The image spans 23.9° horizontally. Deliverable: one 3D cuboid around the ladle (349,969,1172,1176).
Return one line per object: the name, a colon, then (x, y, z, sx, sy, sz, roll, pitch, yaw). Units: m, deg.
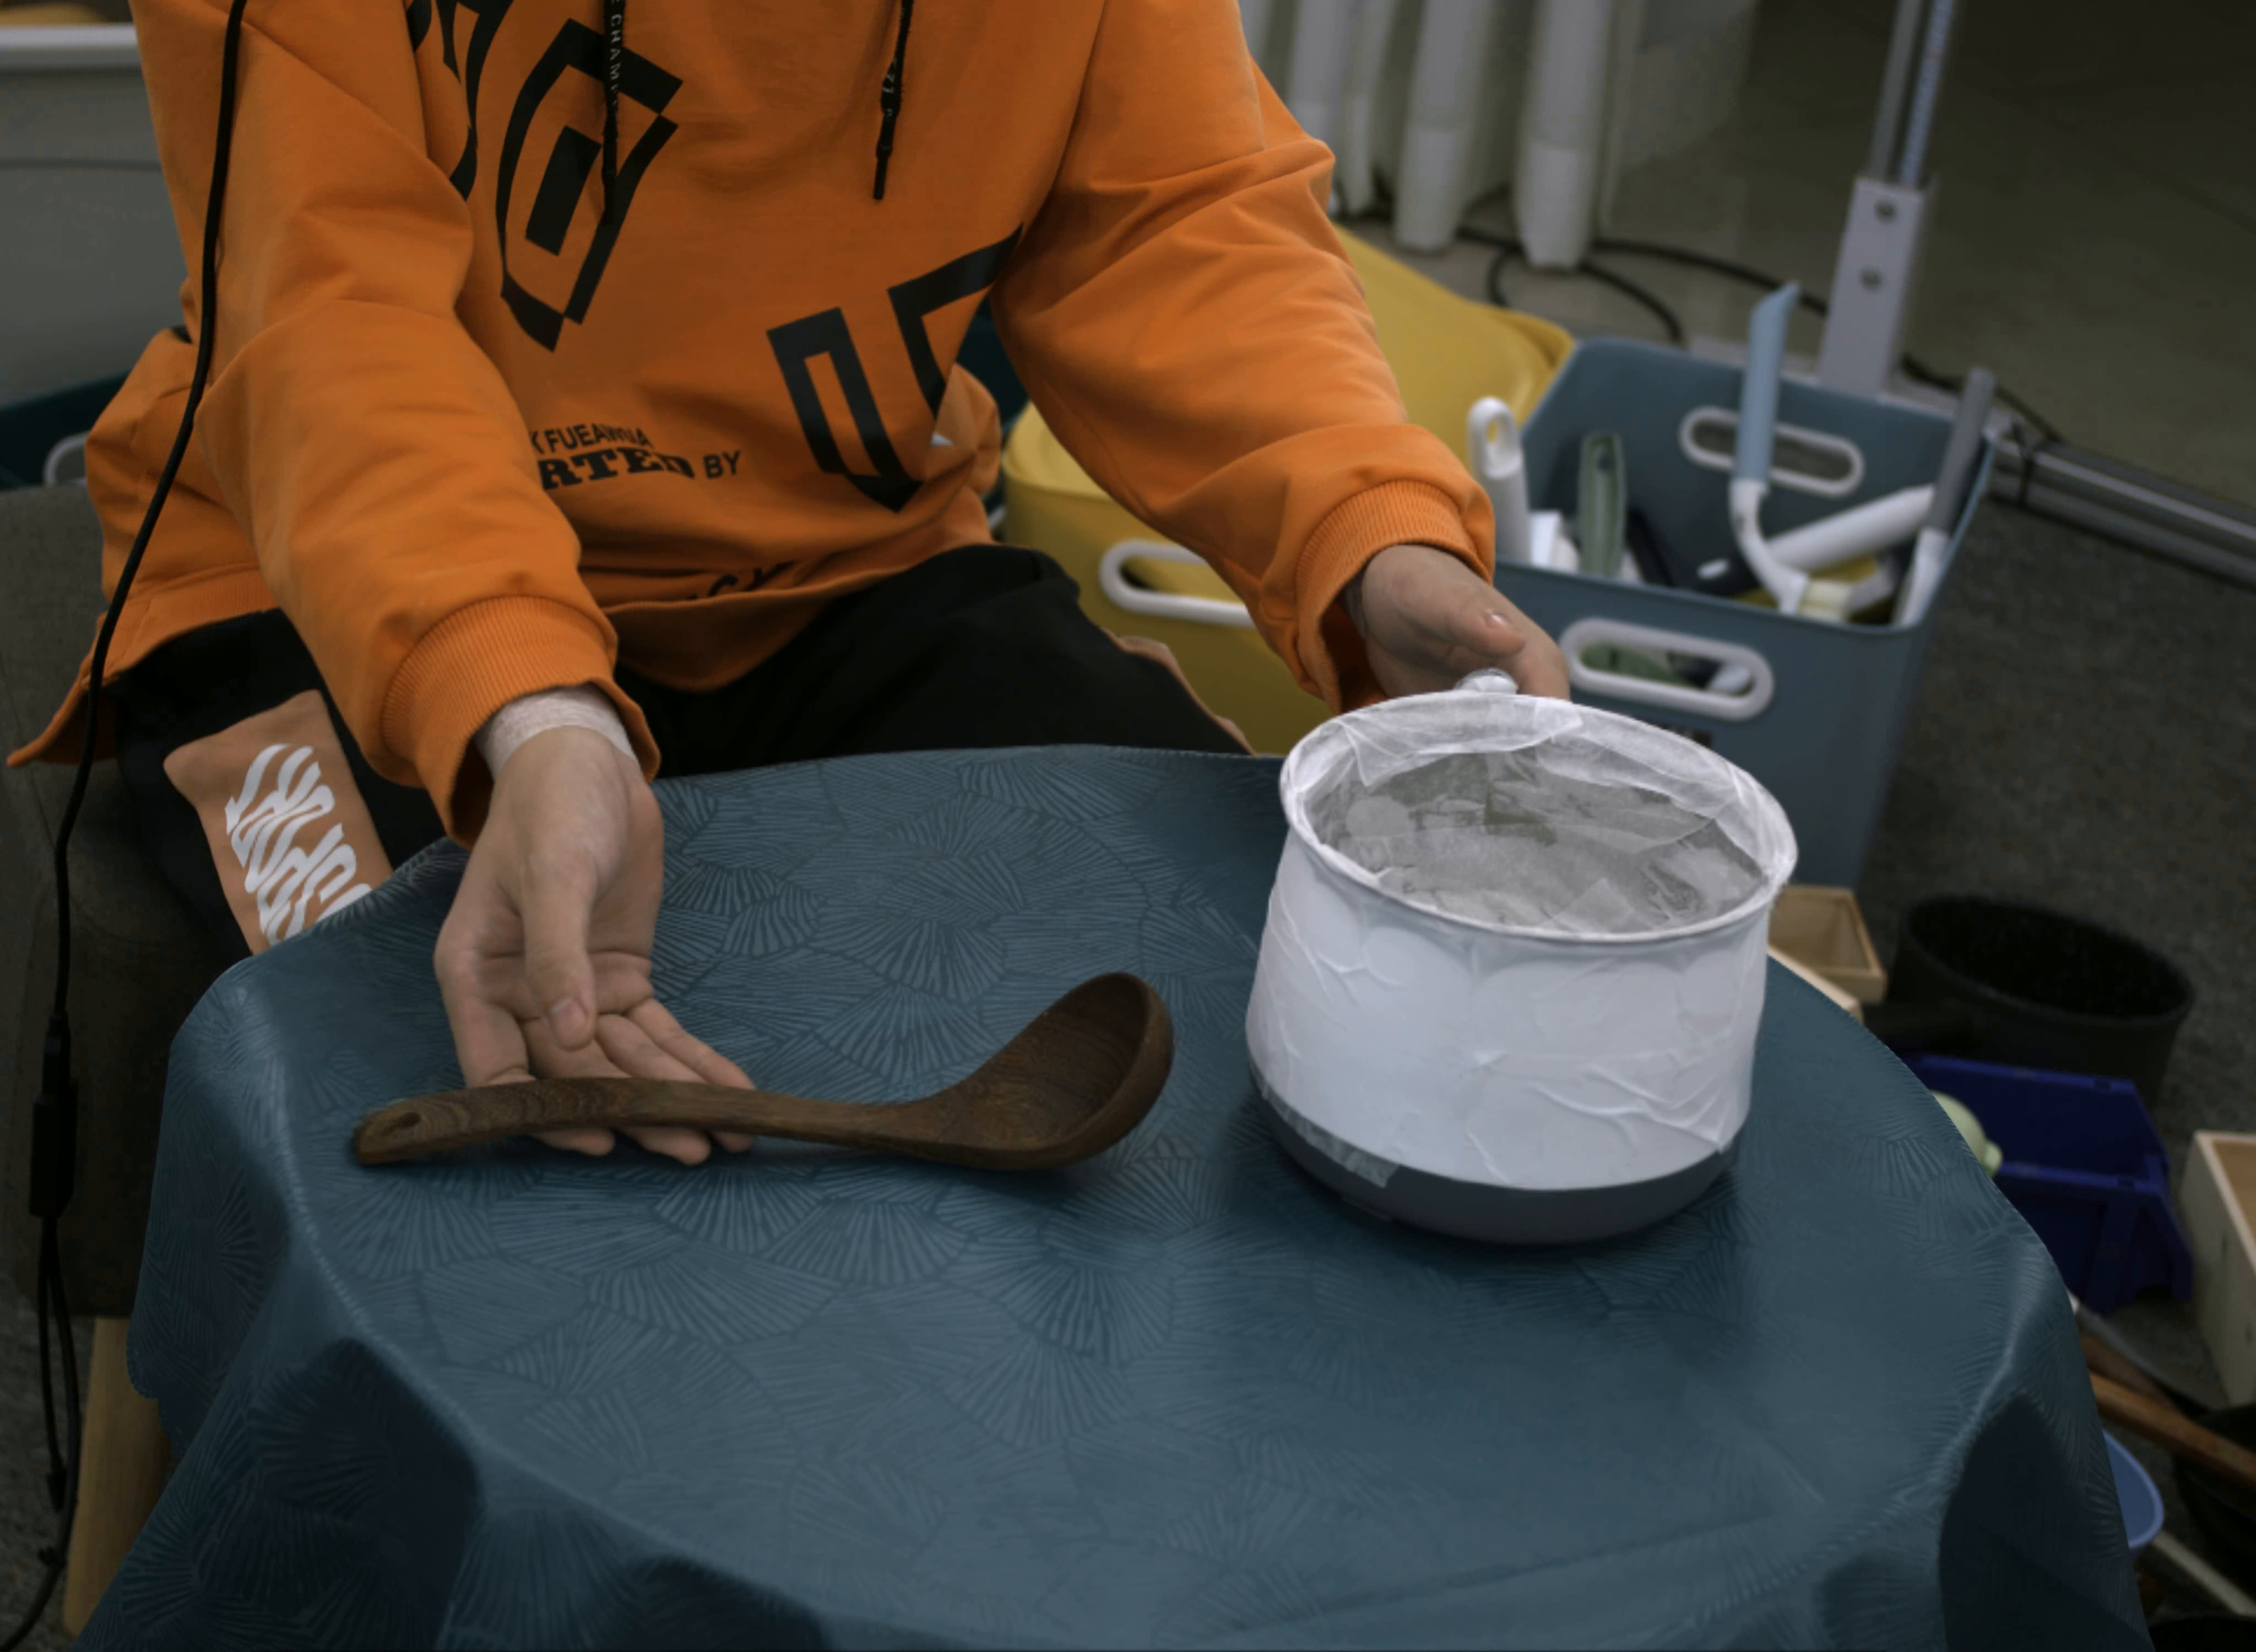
ladle: (-0.122, 0.081, 1.782, 0.273, 0.071, 0.076, 2, 27, -11)

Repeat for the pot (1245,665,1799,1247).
pot: (0.128, 0.038, 1.849, 0.178, 0.136, 0.235, 3, 28, -9)
